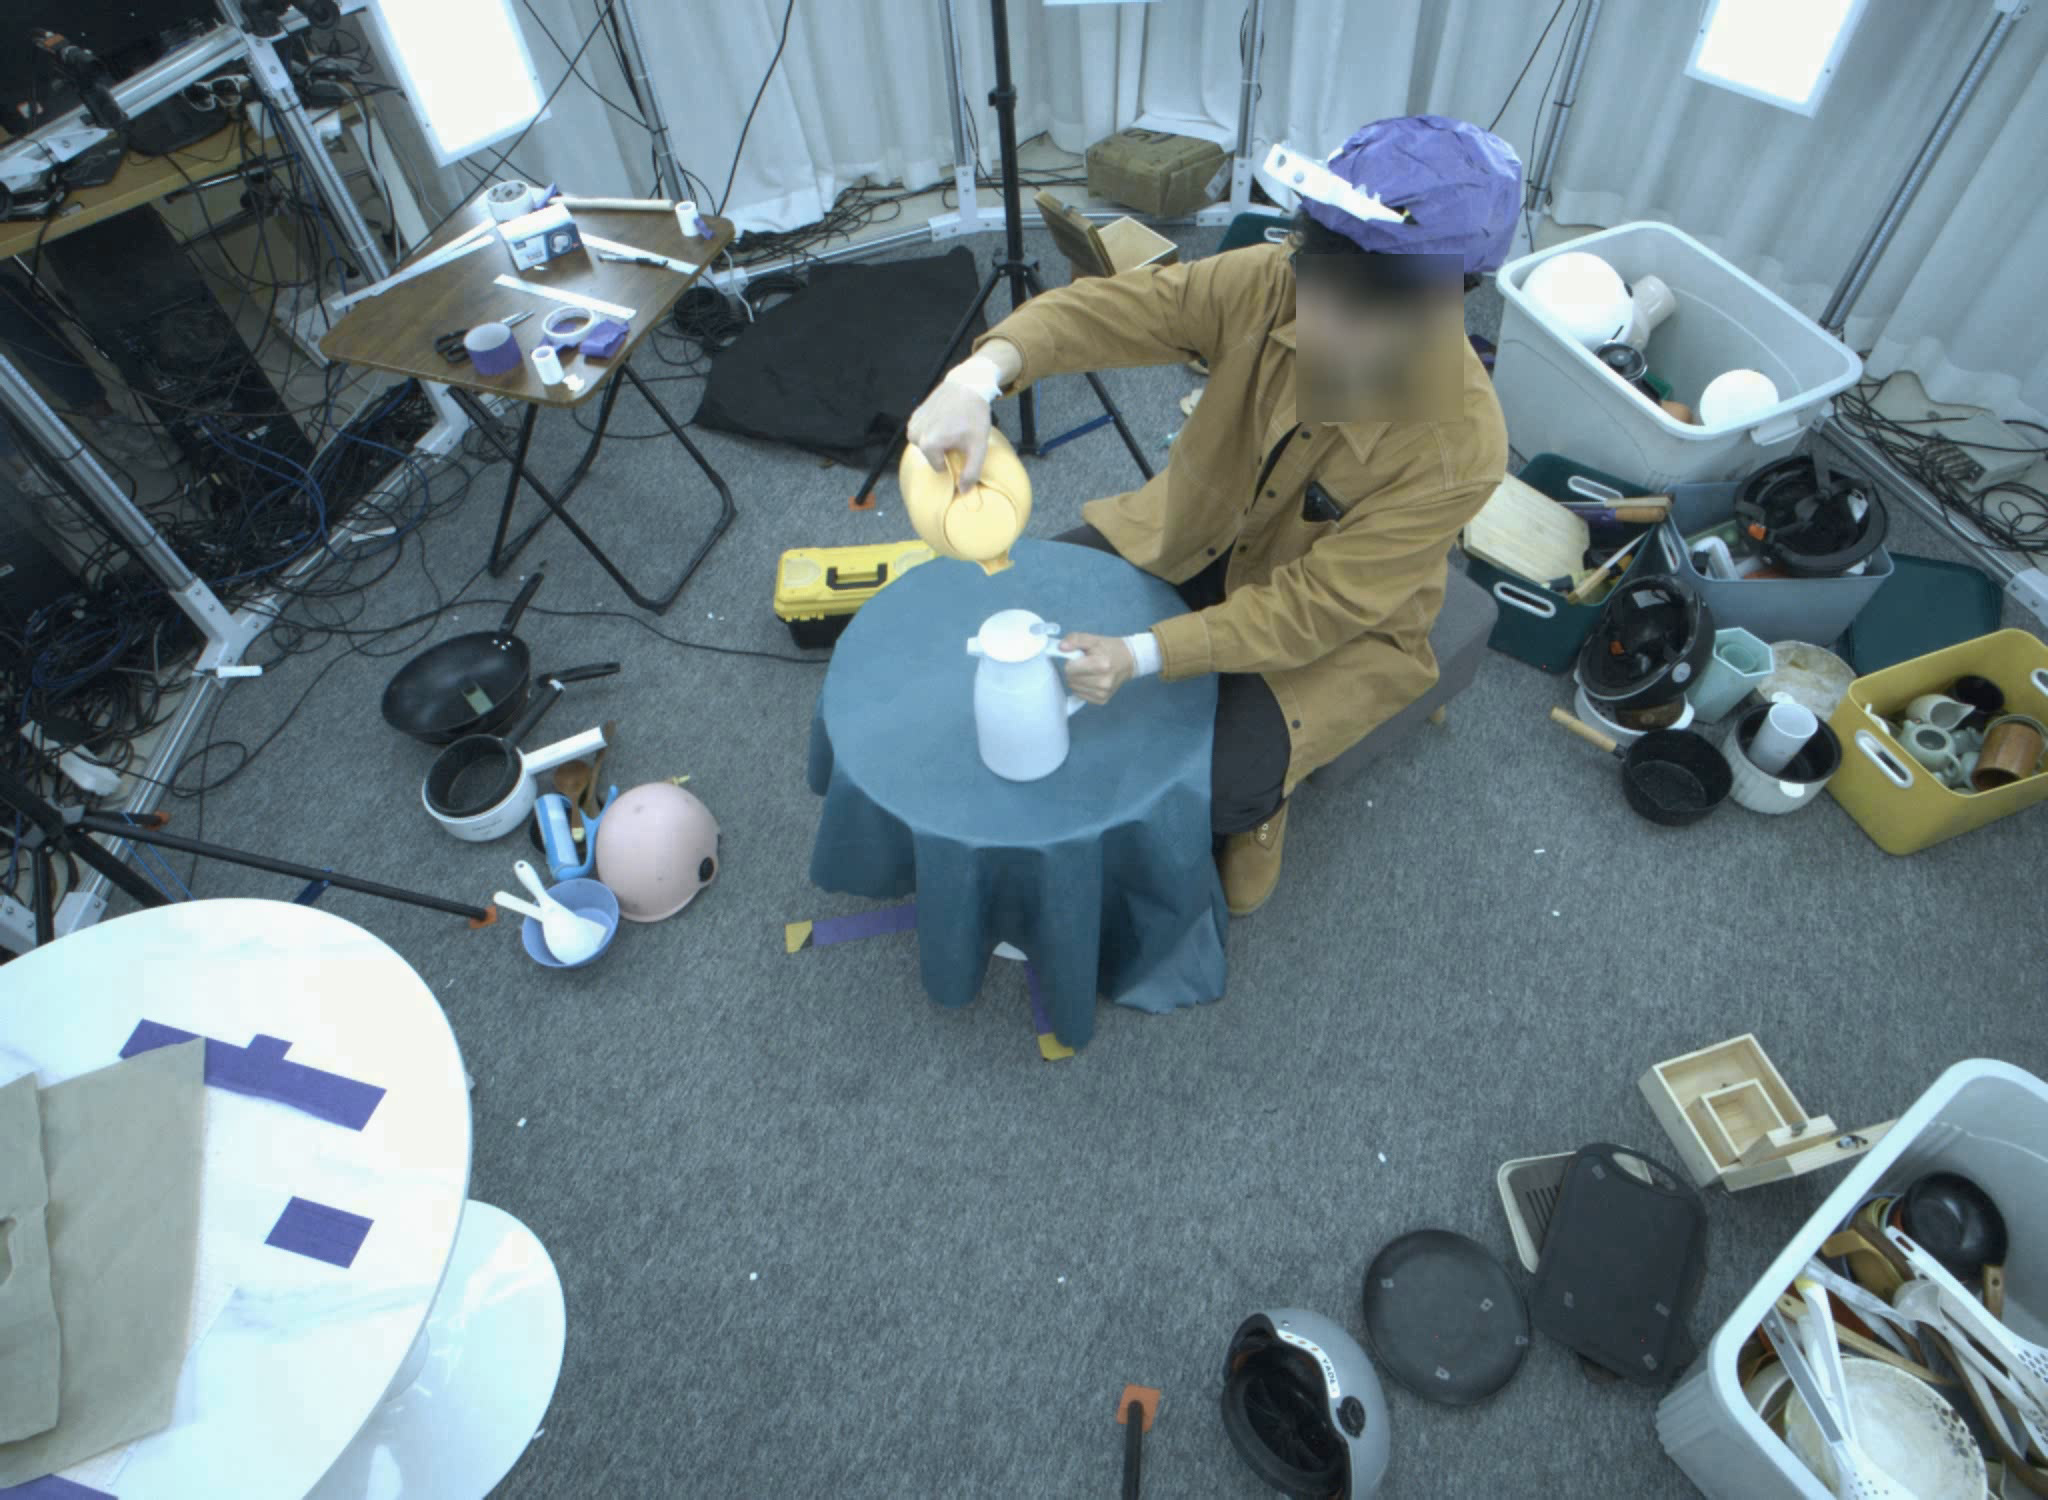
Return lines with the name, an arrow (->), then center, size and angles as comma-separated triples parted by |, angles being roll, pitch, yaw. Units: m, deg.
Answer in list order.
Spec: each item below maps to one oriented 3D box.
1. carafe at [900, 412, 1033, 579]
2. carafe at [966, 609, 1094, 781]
carafe -> -0.076, -0.344, 1.556 | 0.164, 0.205, 0.256 | -19, 34, -2
carafe -> 0.011, -0.083, 1.688 | 0.168, 0.251, 0.131 | -3, 54, 1
